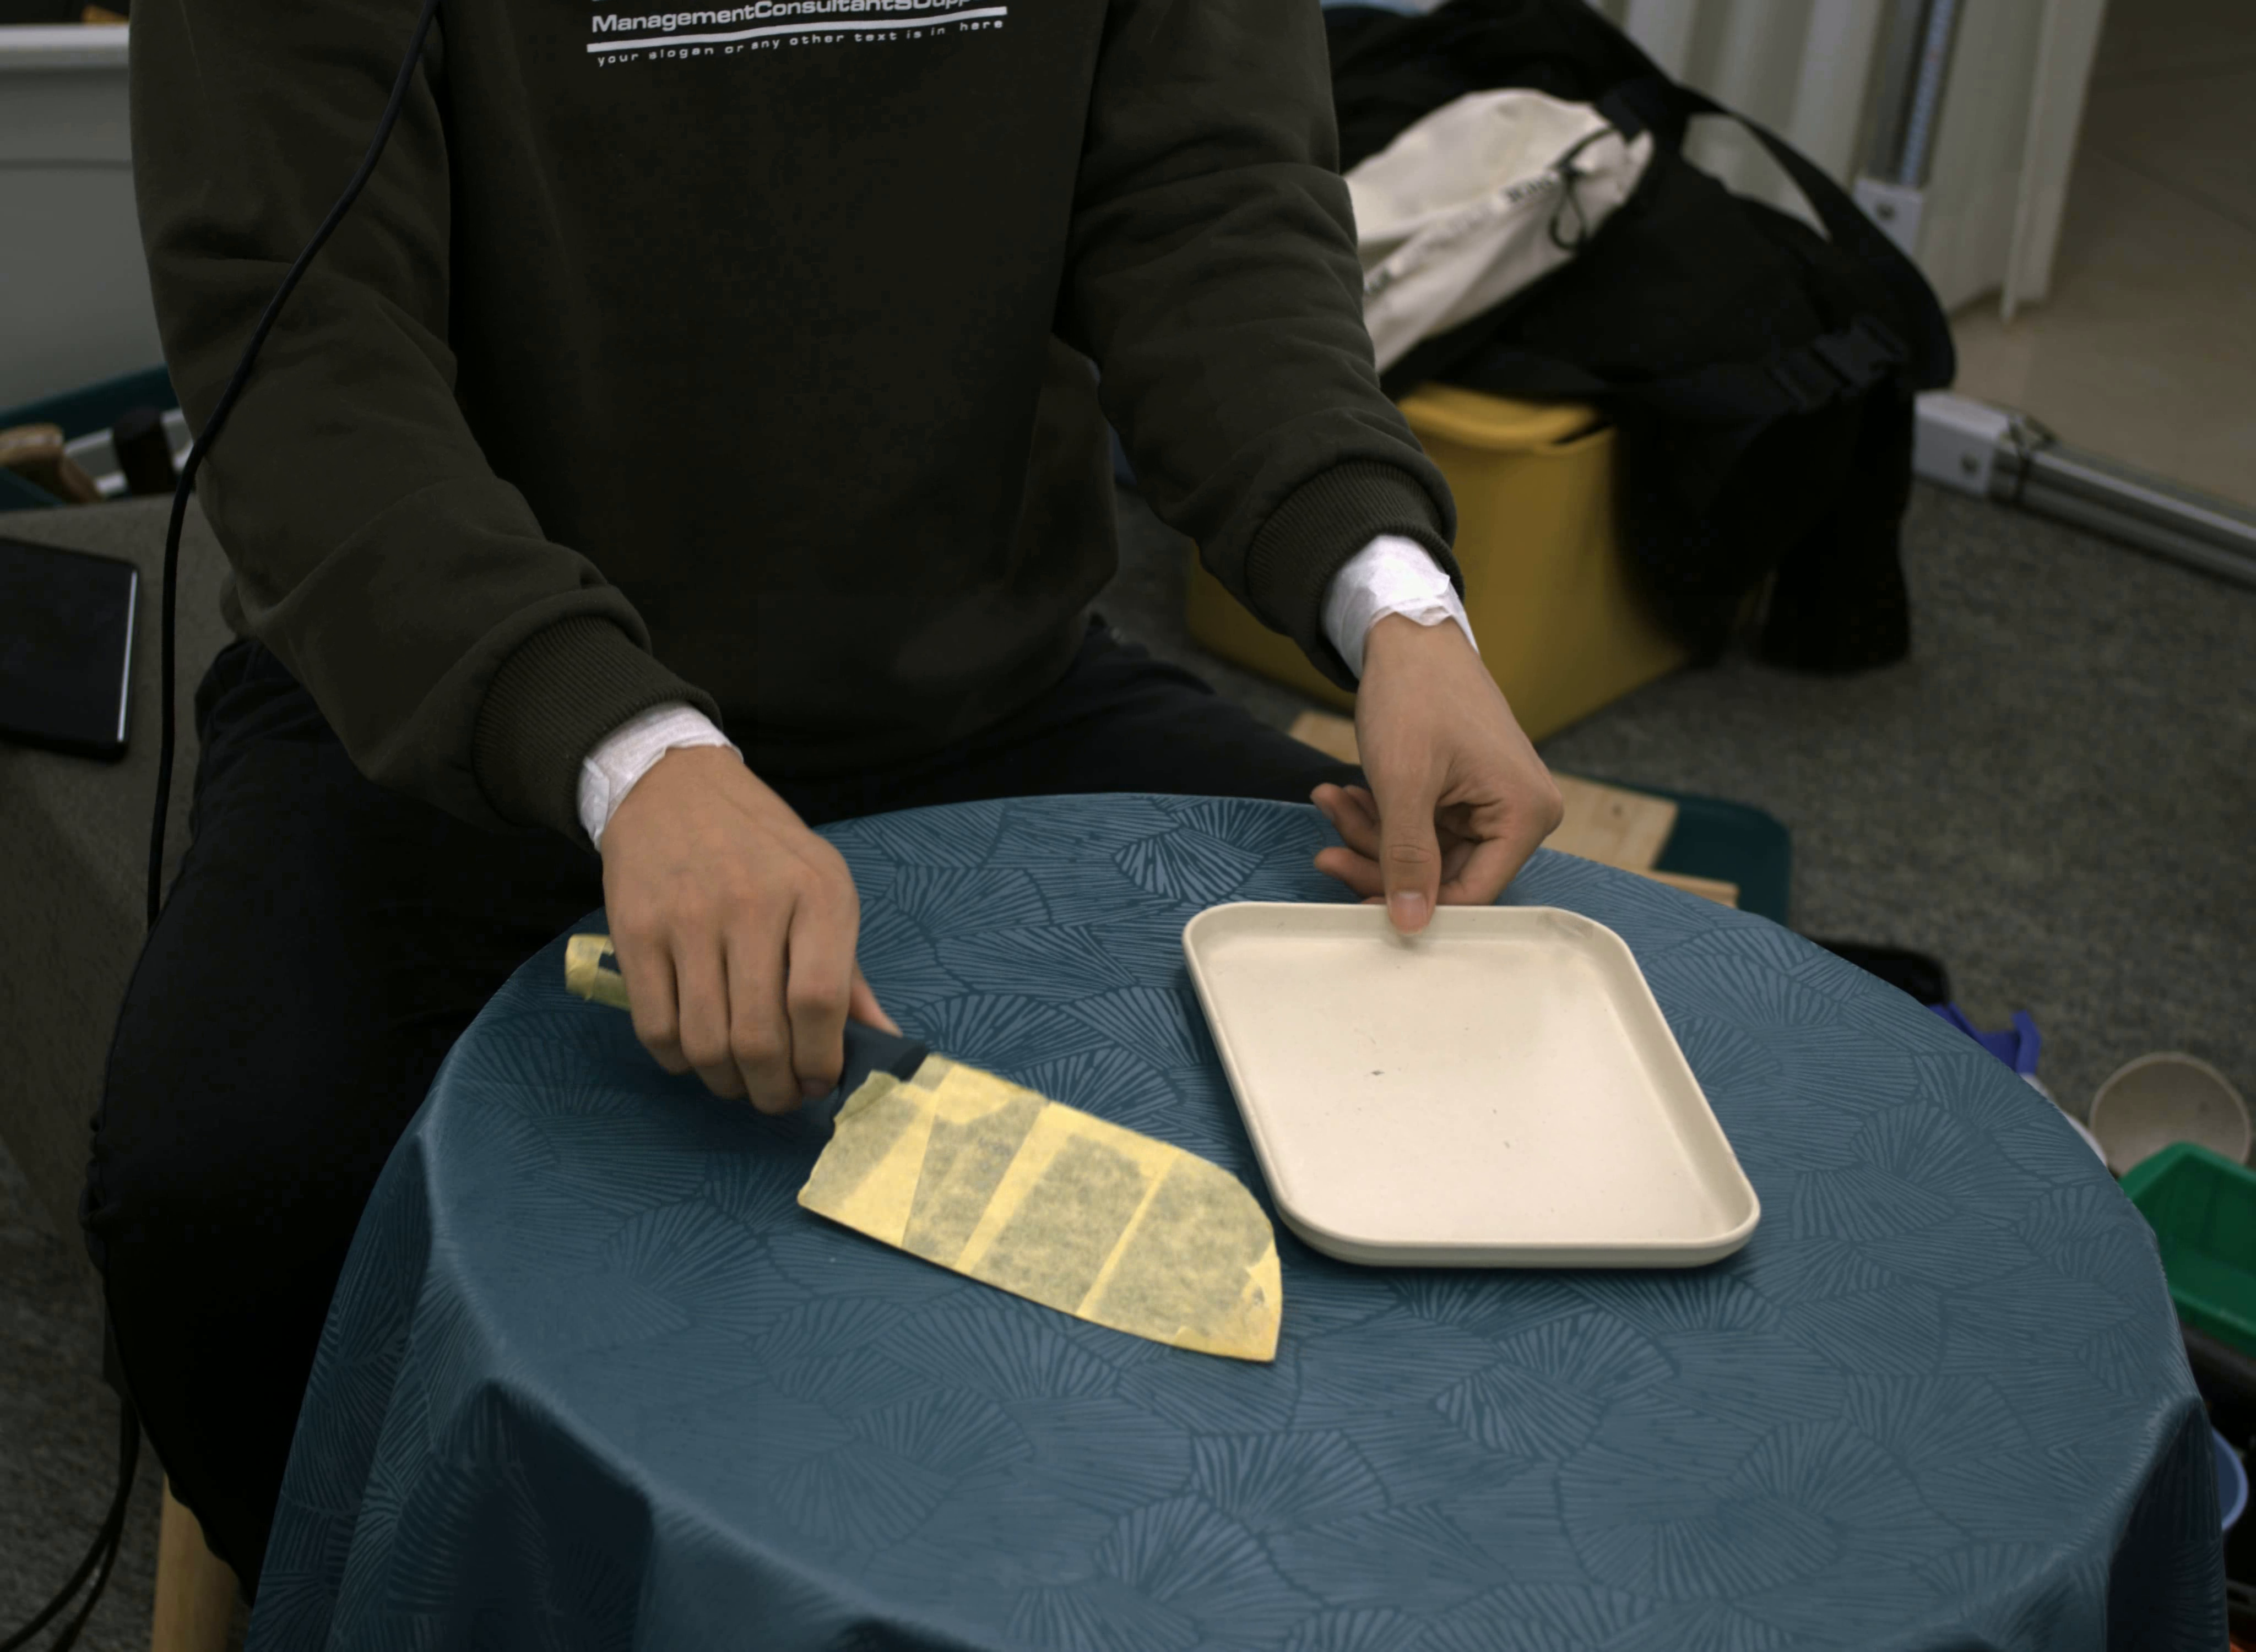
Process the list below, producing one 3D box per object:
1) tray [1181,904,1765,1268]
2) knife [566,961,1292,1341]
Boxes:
[{"bbox_3d":[0.117,0.091,1.878,0.170,0.017,0.241,0,27,-11],"label":"tray"},{"bbox_3d":[-0.073,0.108,1.777,0.291,0.027,0.081,21,53,22],"label":"knife"}]
